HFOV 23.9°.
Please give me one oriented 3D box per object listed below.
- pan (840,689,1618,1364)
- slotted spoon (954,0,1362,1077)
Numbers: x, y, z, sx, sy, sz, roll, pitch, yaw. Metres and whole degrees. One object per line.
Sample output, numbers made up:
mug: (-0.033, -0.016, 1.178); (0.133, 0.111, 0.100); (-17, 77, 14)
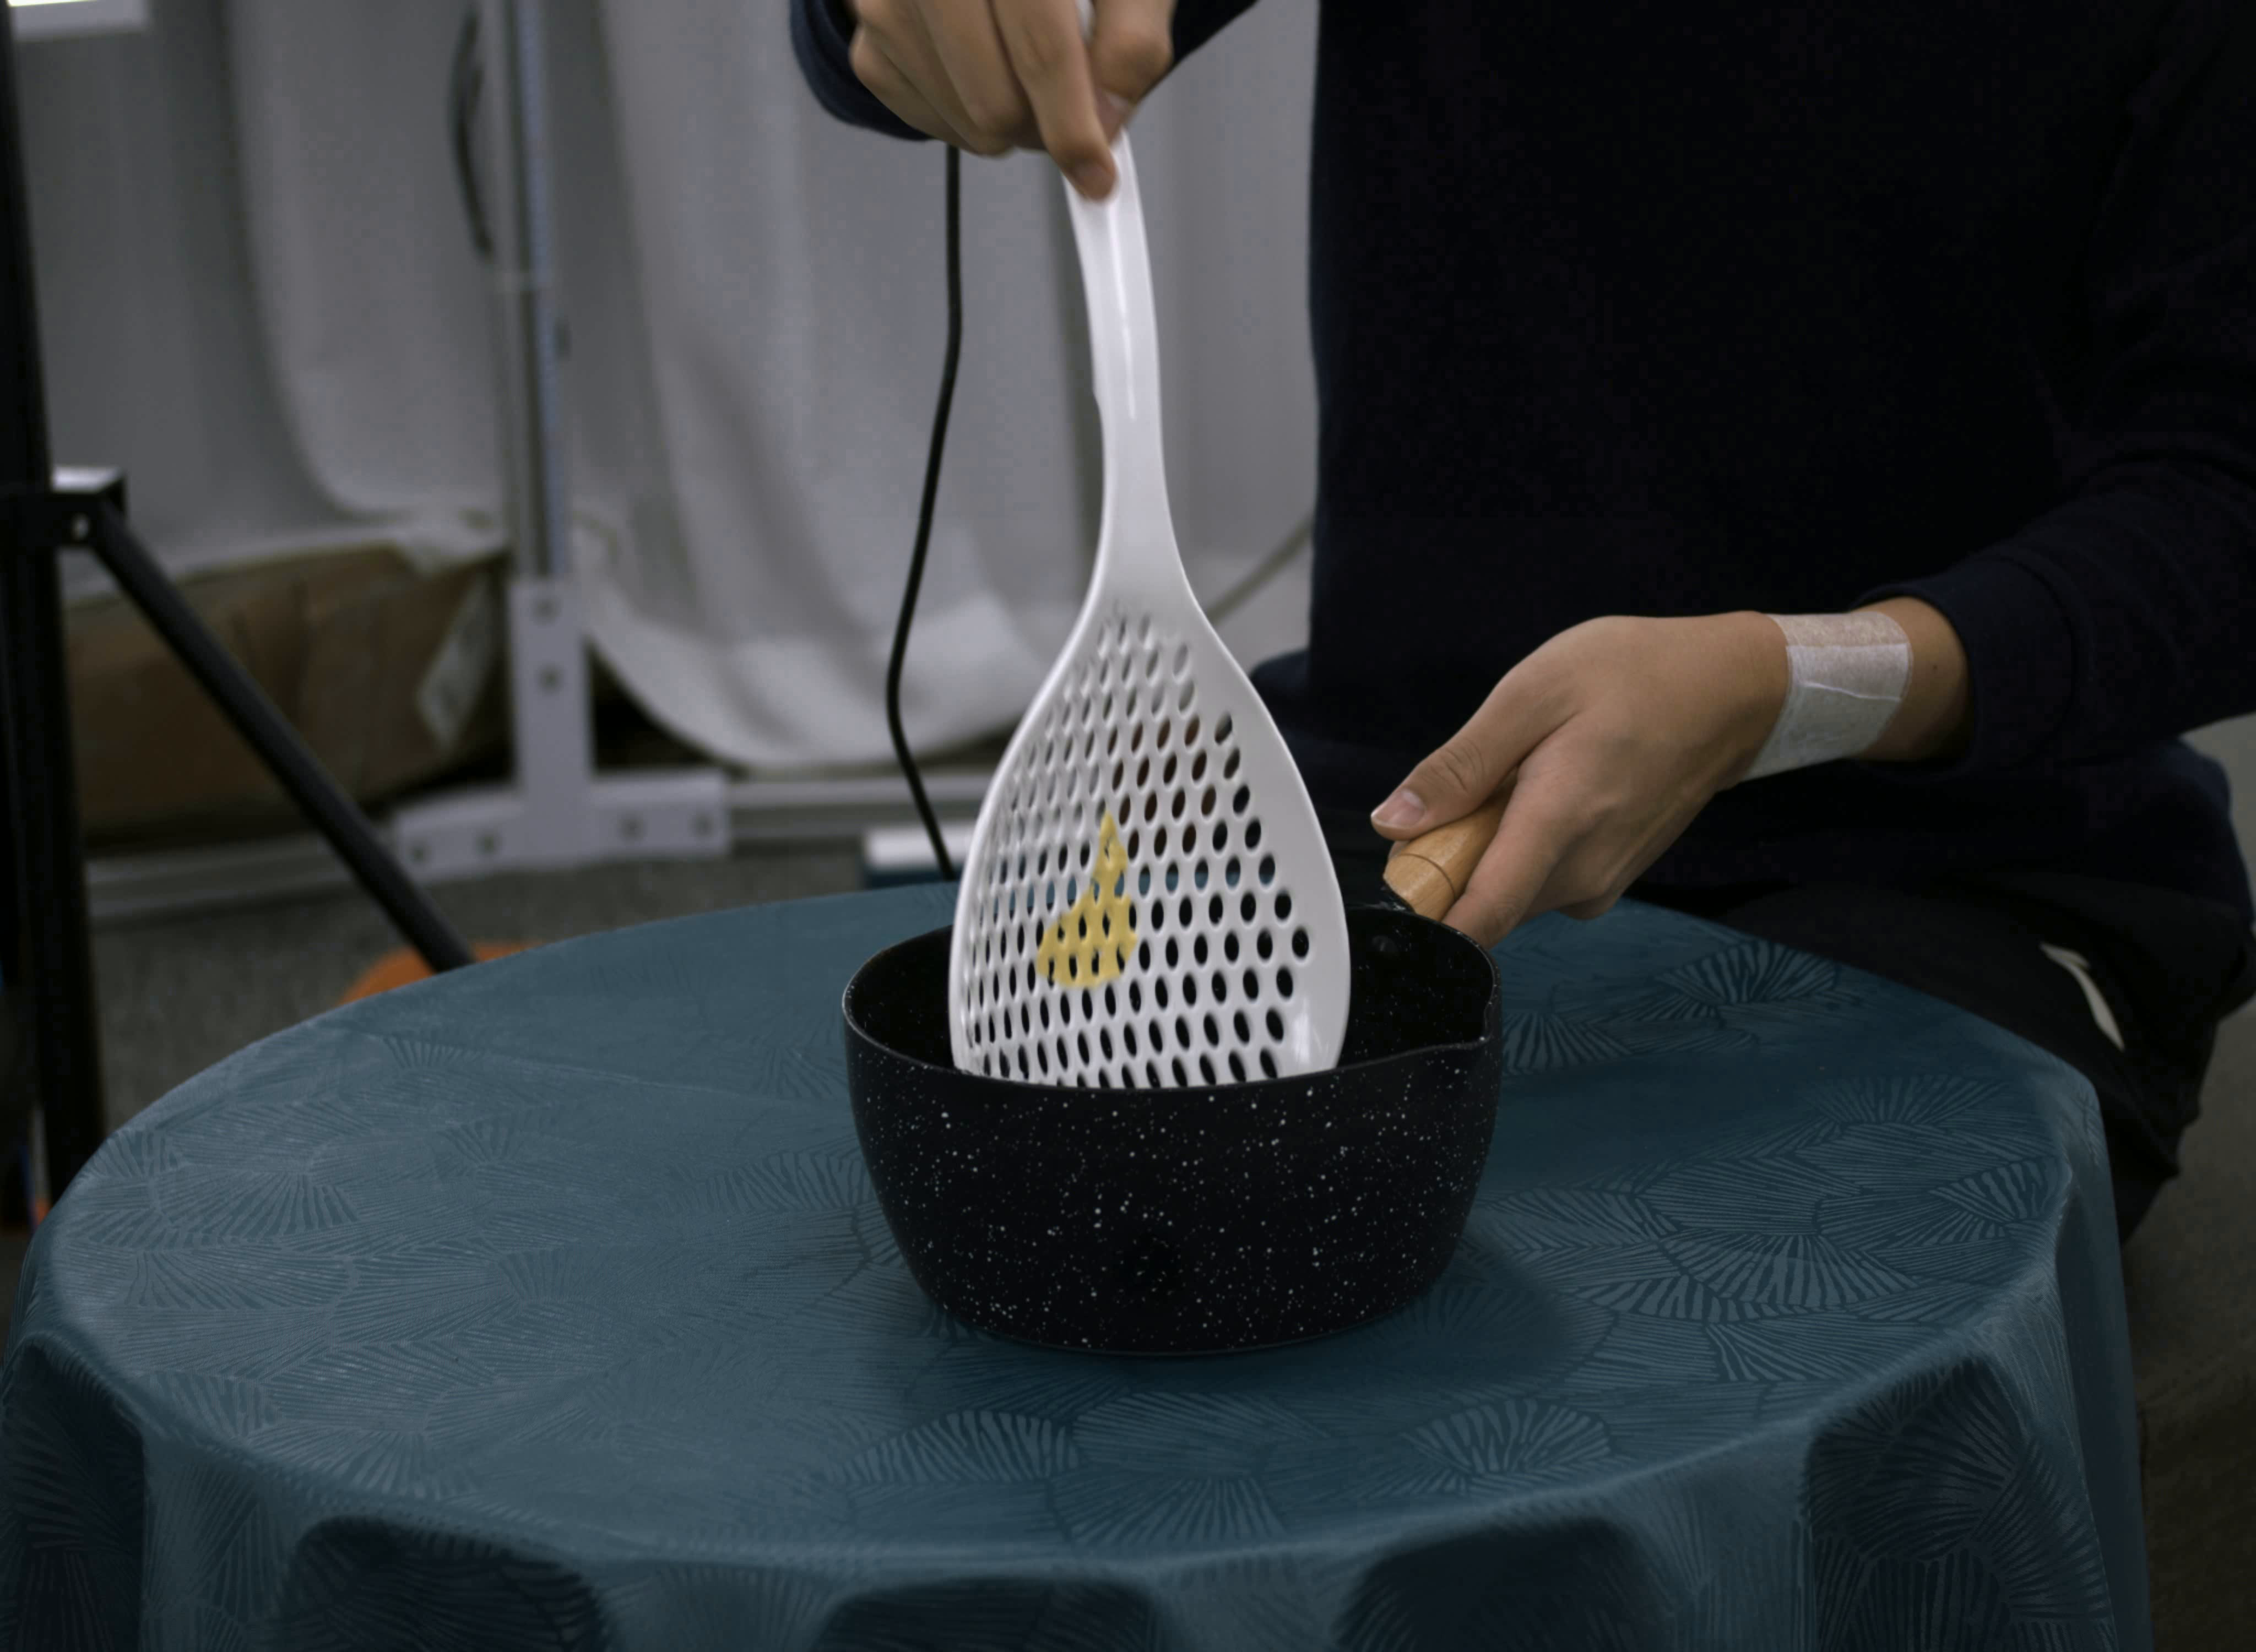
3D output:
pan: (0.054, 0.053, 1.546); (0.211, 0.108, 0.336); (6, 19, 32)
slotted spoon: (-0.003, -0.063, 1.461); (0.133, 0.348, 0.051); (-10, 17, -32)
